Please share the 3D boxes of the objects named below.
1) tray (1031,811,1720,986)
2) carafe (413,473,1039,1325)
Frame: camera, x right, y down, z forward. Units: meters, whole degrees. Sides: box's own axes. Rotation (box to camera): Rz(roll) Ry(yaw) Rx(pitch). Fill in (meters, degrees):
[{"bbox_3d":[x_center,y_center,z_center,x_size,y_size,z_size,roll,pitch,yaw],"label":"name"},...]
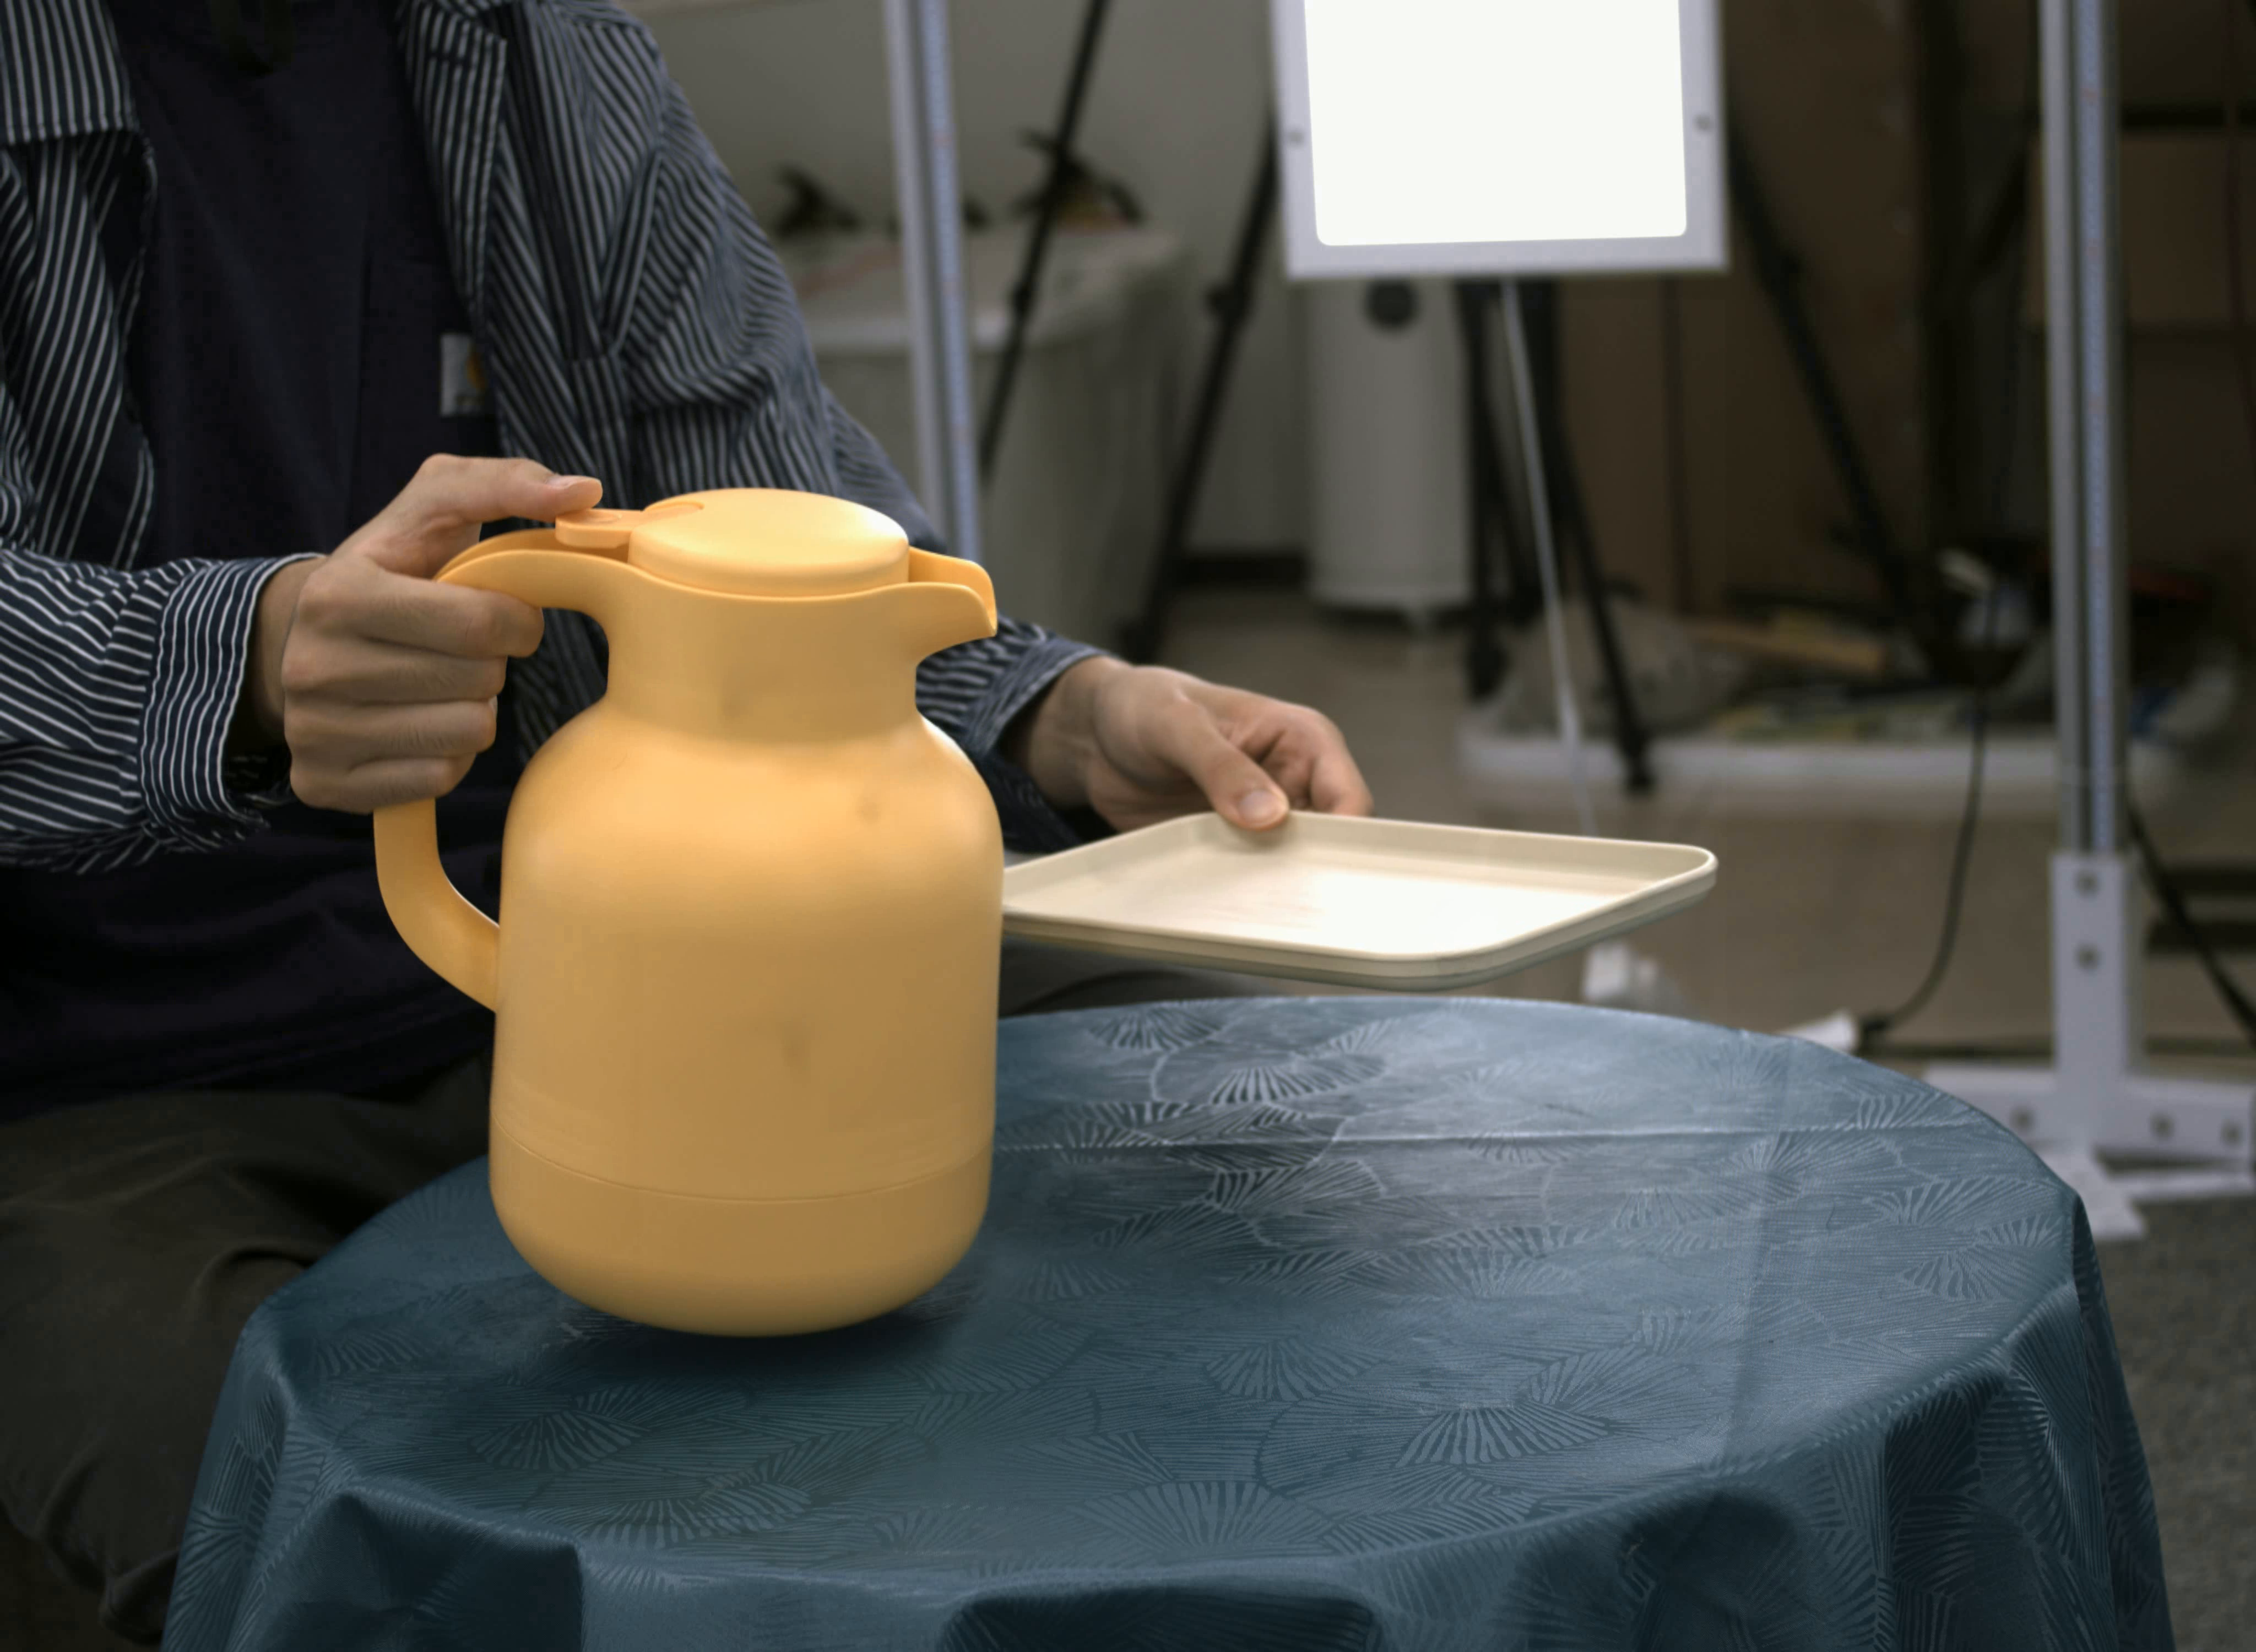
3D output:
[{"bbox_3d":[0.069,0.024,1.871,0.245,0.017,0.167,5,14,43],"label":"tray"},{"bbox_3d":[-0.129,0.017,1.769,0.202,0.262,0.162,5,18,1],"label":"carafe"}]
